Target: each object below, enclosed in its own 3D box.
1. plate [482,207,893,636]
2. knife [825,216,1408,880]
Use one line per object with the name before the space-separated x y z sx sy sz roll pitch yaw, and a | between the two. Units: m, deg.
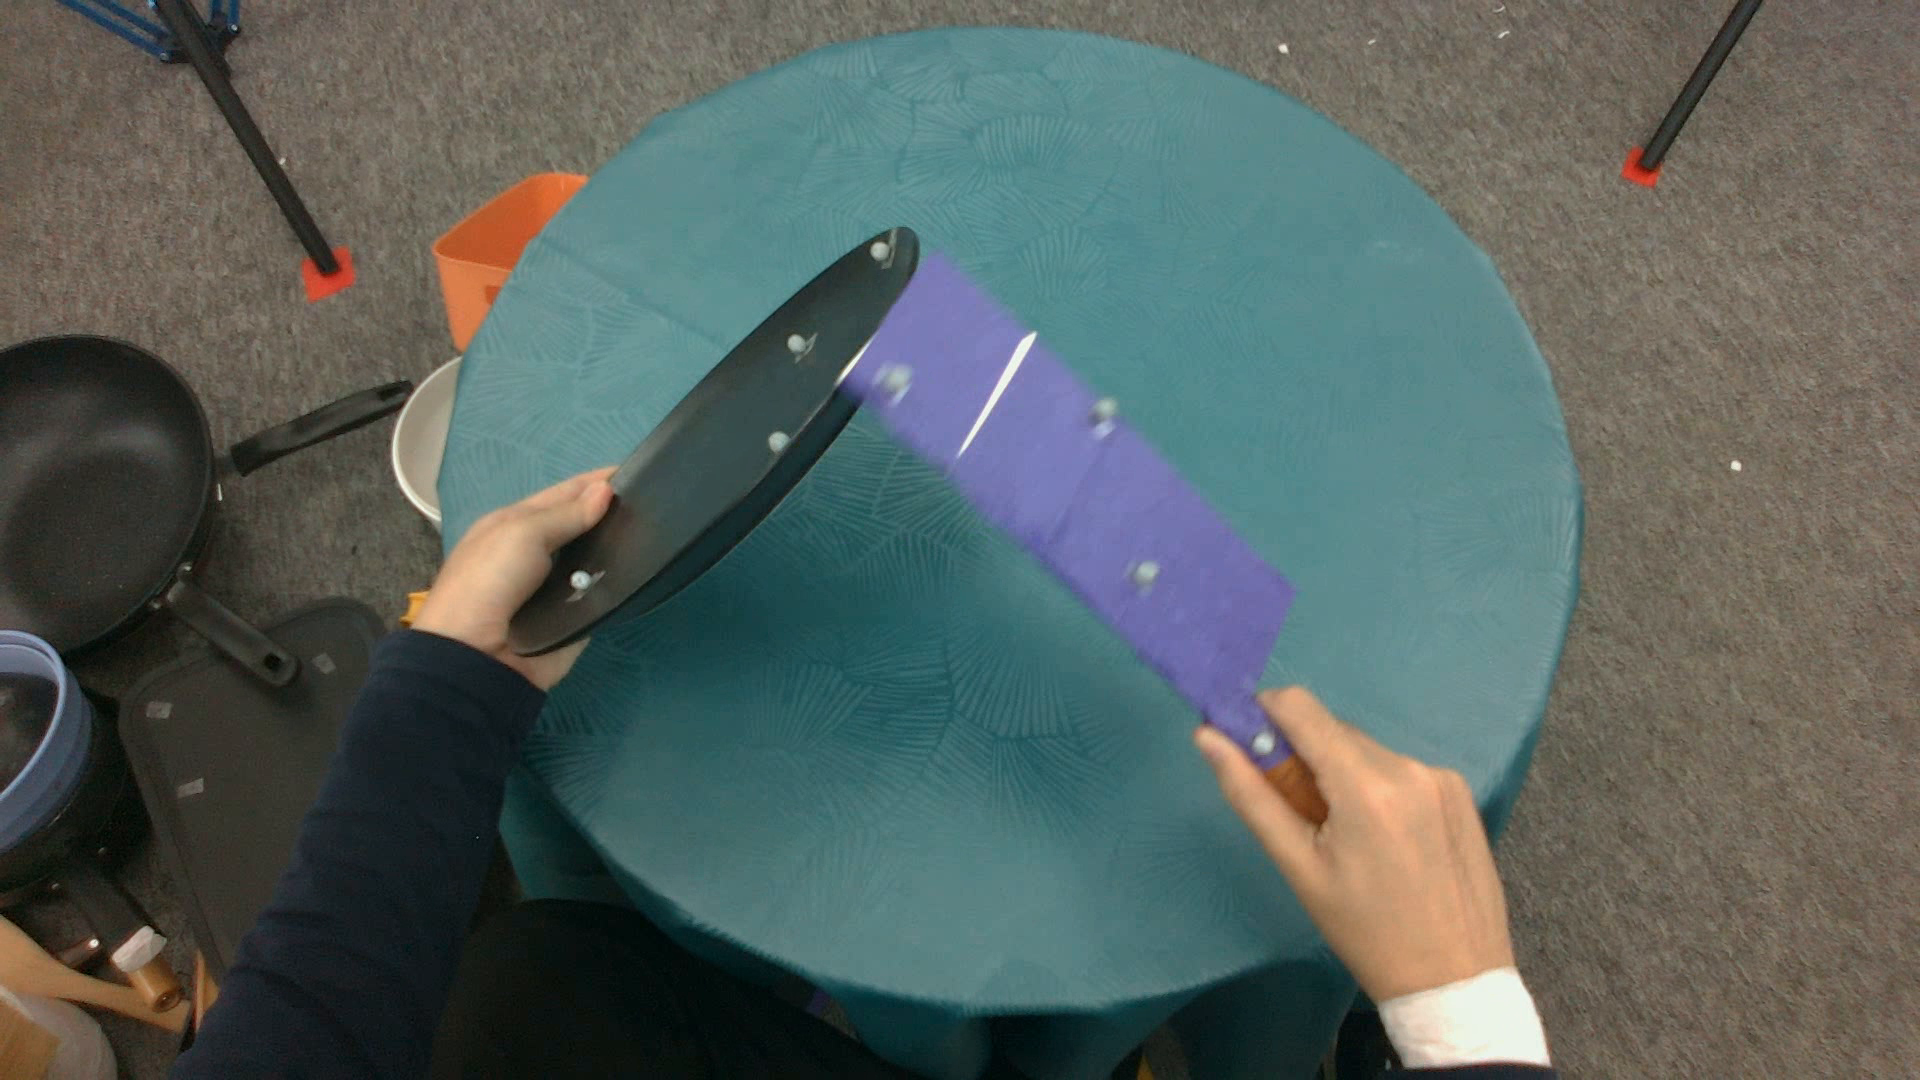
plate | -0.113 -0.049 0.590 0.023 0.243 0.245 45 64 -22
knife | 0.082 0.002 0.547 0.315 0.032 0.104 46 51 -15
